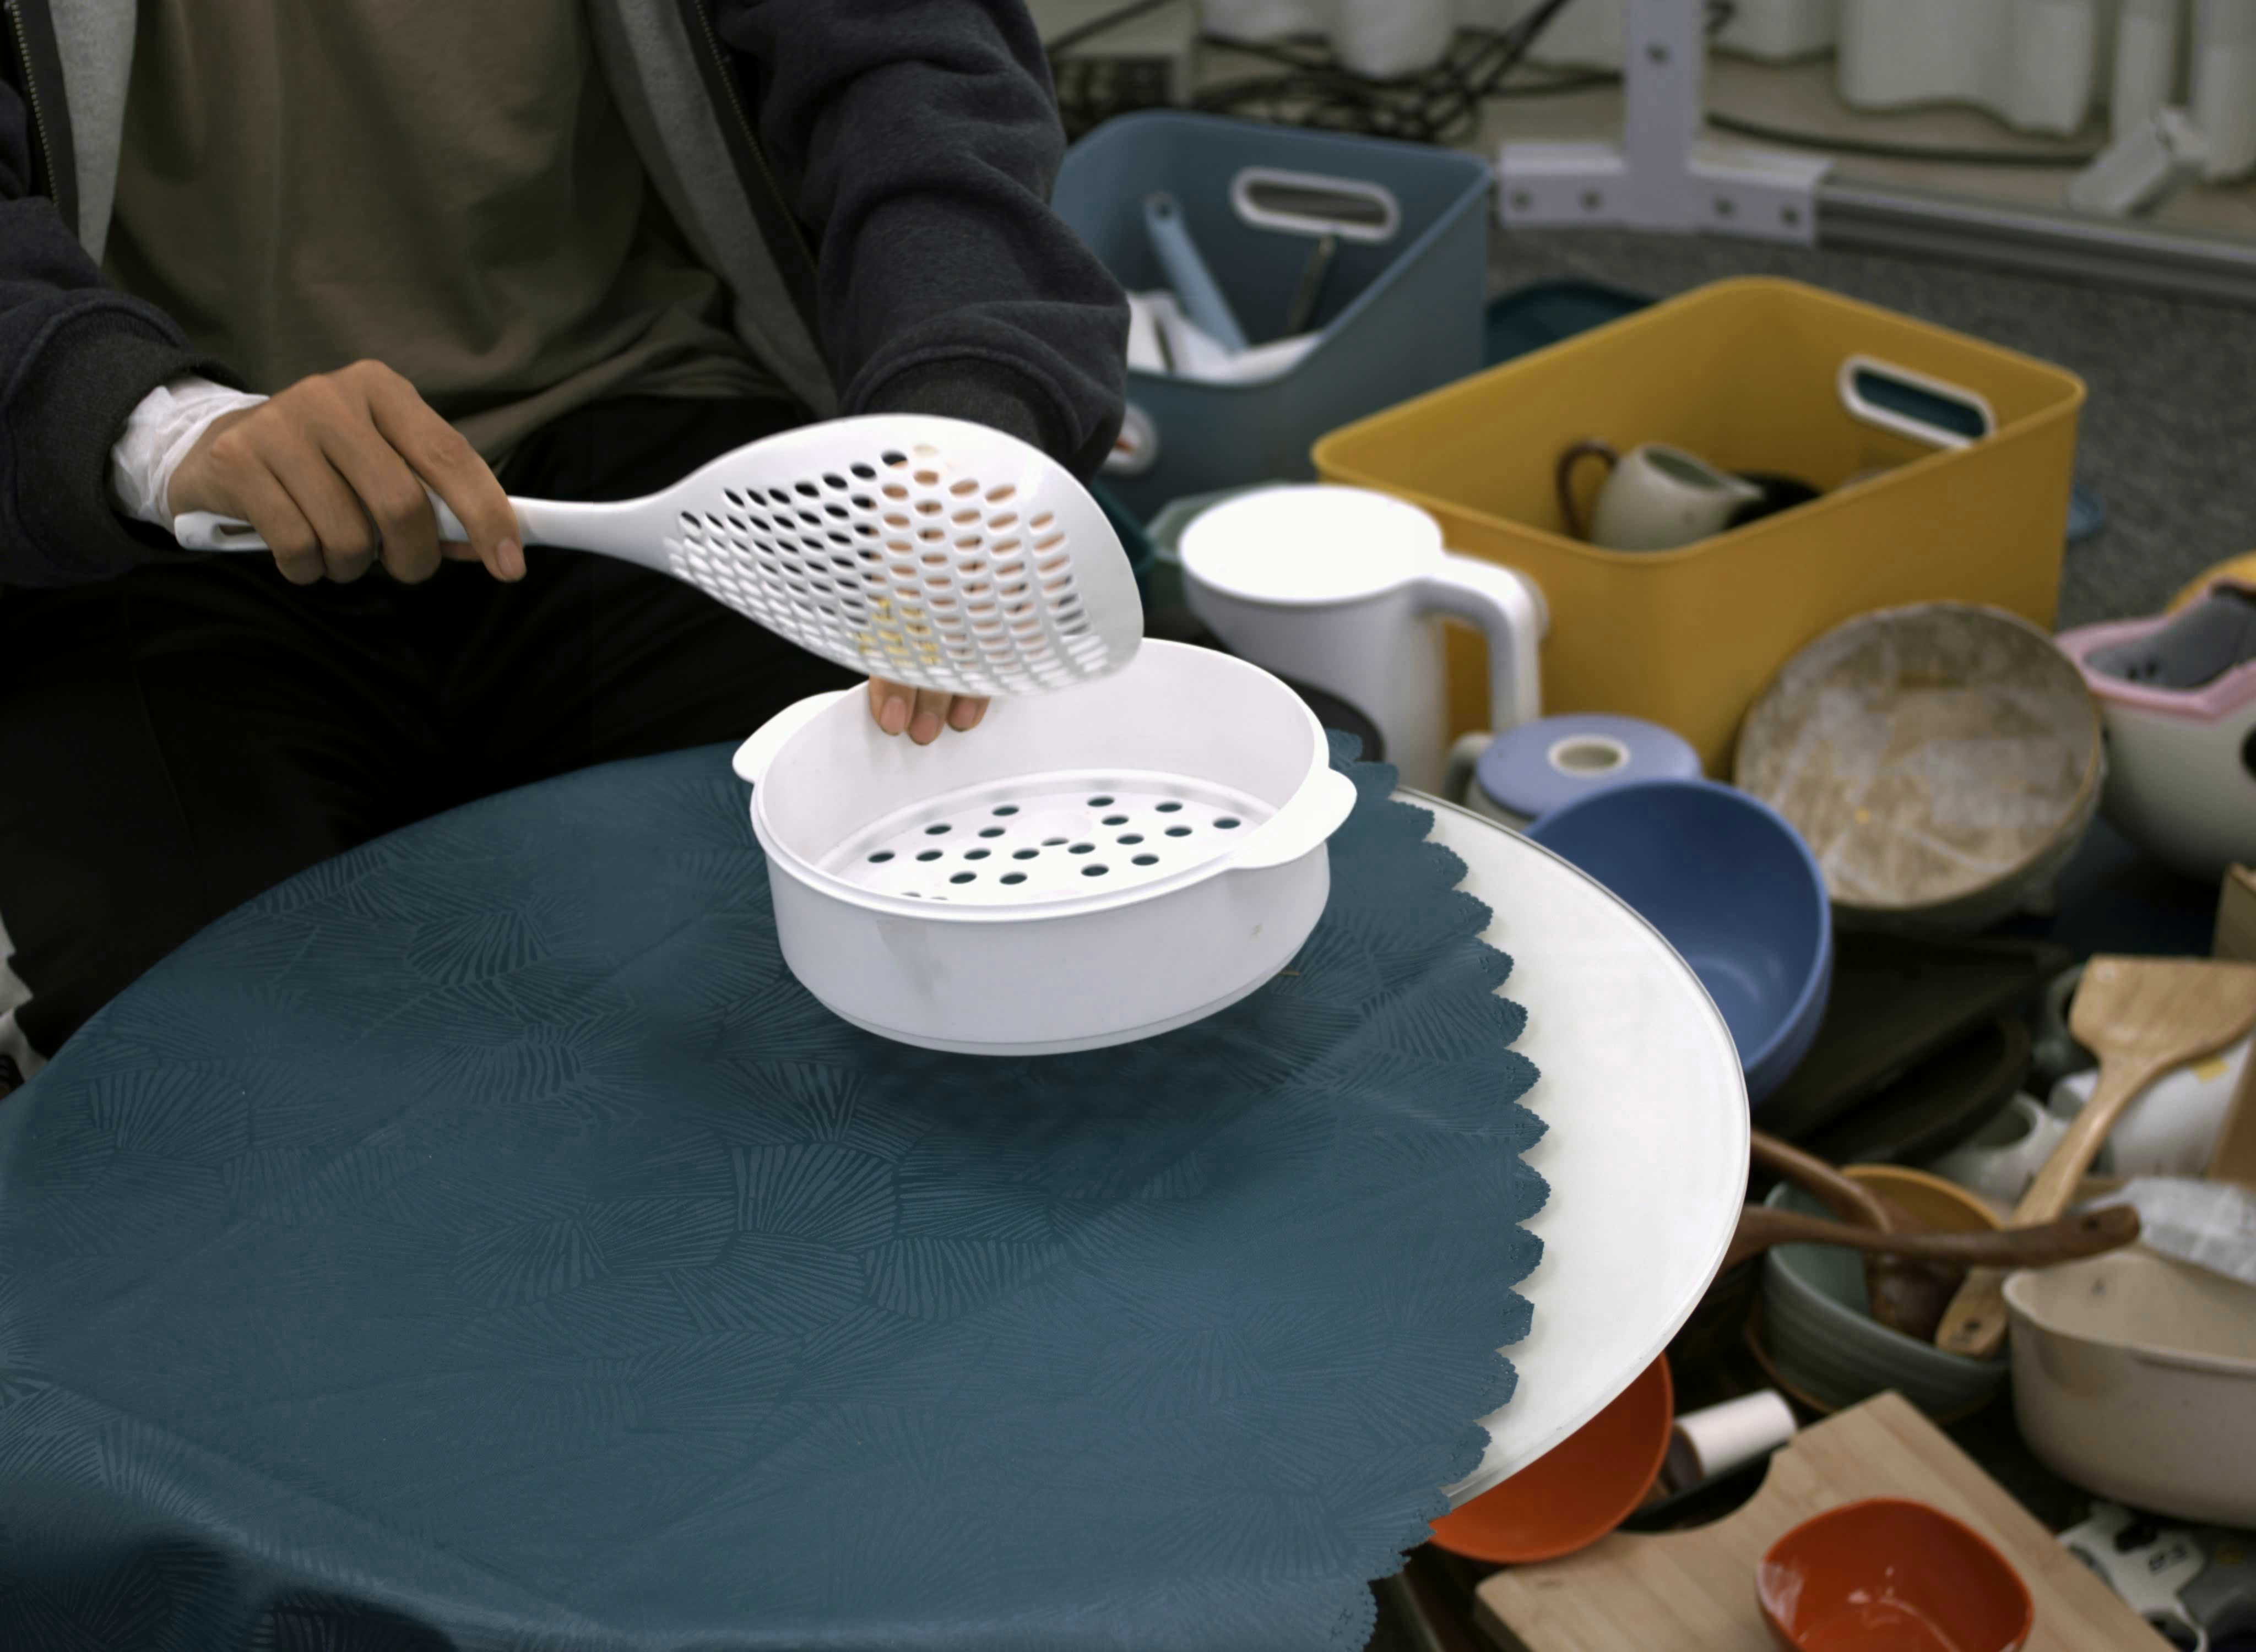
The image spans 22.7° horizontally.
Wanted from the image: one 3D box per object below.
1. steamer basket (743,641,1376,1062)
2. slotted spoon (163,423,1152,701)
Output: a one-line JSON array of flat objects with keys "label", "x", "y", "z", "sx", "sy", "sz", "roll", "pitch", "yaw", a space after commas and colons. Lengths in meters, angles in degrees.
[{"label": "steamer basket", "x": -0.024, "y": 0.009, "z": 1.942, "sx": 0.229, "sy": 0.068, "sz": 0.205, "roll": 11, "pitch": 31, "yaw": 26}, {"label": "slotted spoon", "x": -0.161, "y": -0.089, "z": 1.886, "sx": 0.345, "sy": 0.135, "sz": 0.051, "roll": 9, "pitch": 56, "yaw": 21}]
